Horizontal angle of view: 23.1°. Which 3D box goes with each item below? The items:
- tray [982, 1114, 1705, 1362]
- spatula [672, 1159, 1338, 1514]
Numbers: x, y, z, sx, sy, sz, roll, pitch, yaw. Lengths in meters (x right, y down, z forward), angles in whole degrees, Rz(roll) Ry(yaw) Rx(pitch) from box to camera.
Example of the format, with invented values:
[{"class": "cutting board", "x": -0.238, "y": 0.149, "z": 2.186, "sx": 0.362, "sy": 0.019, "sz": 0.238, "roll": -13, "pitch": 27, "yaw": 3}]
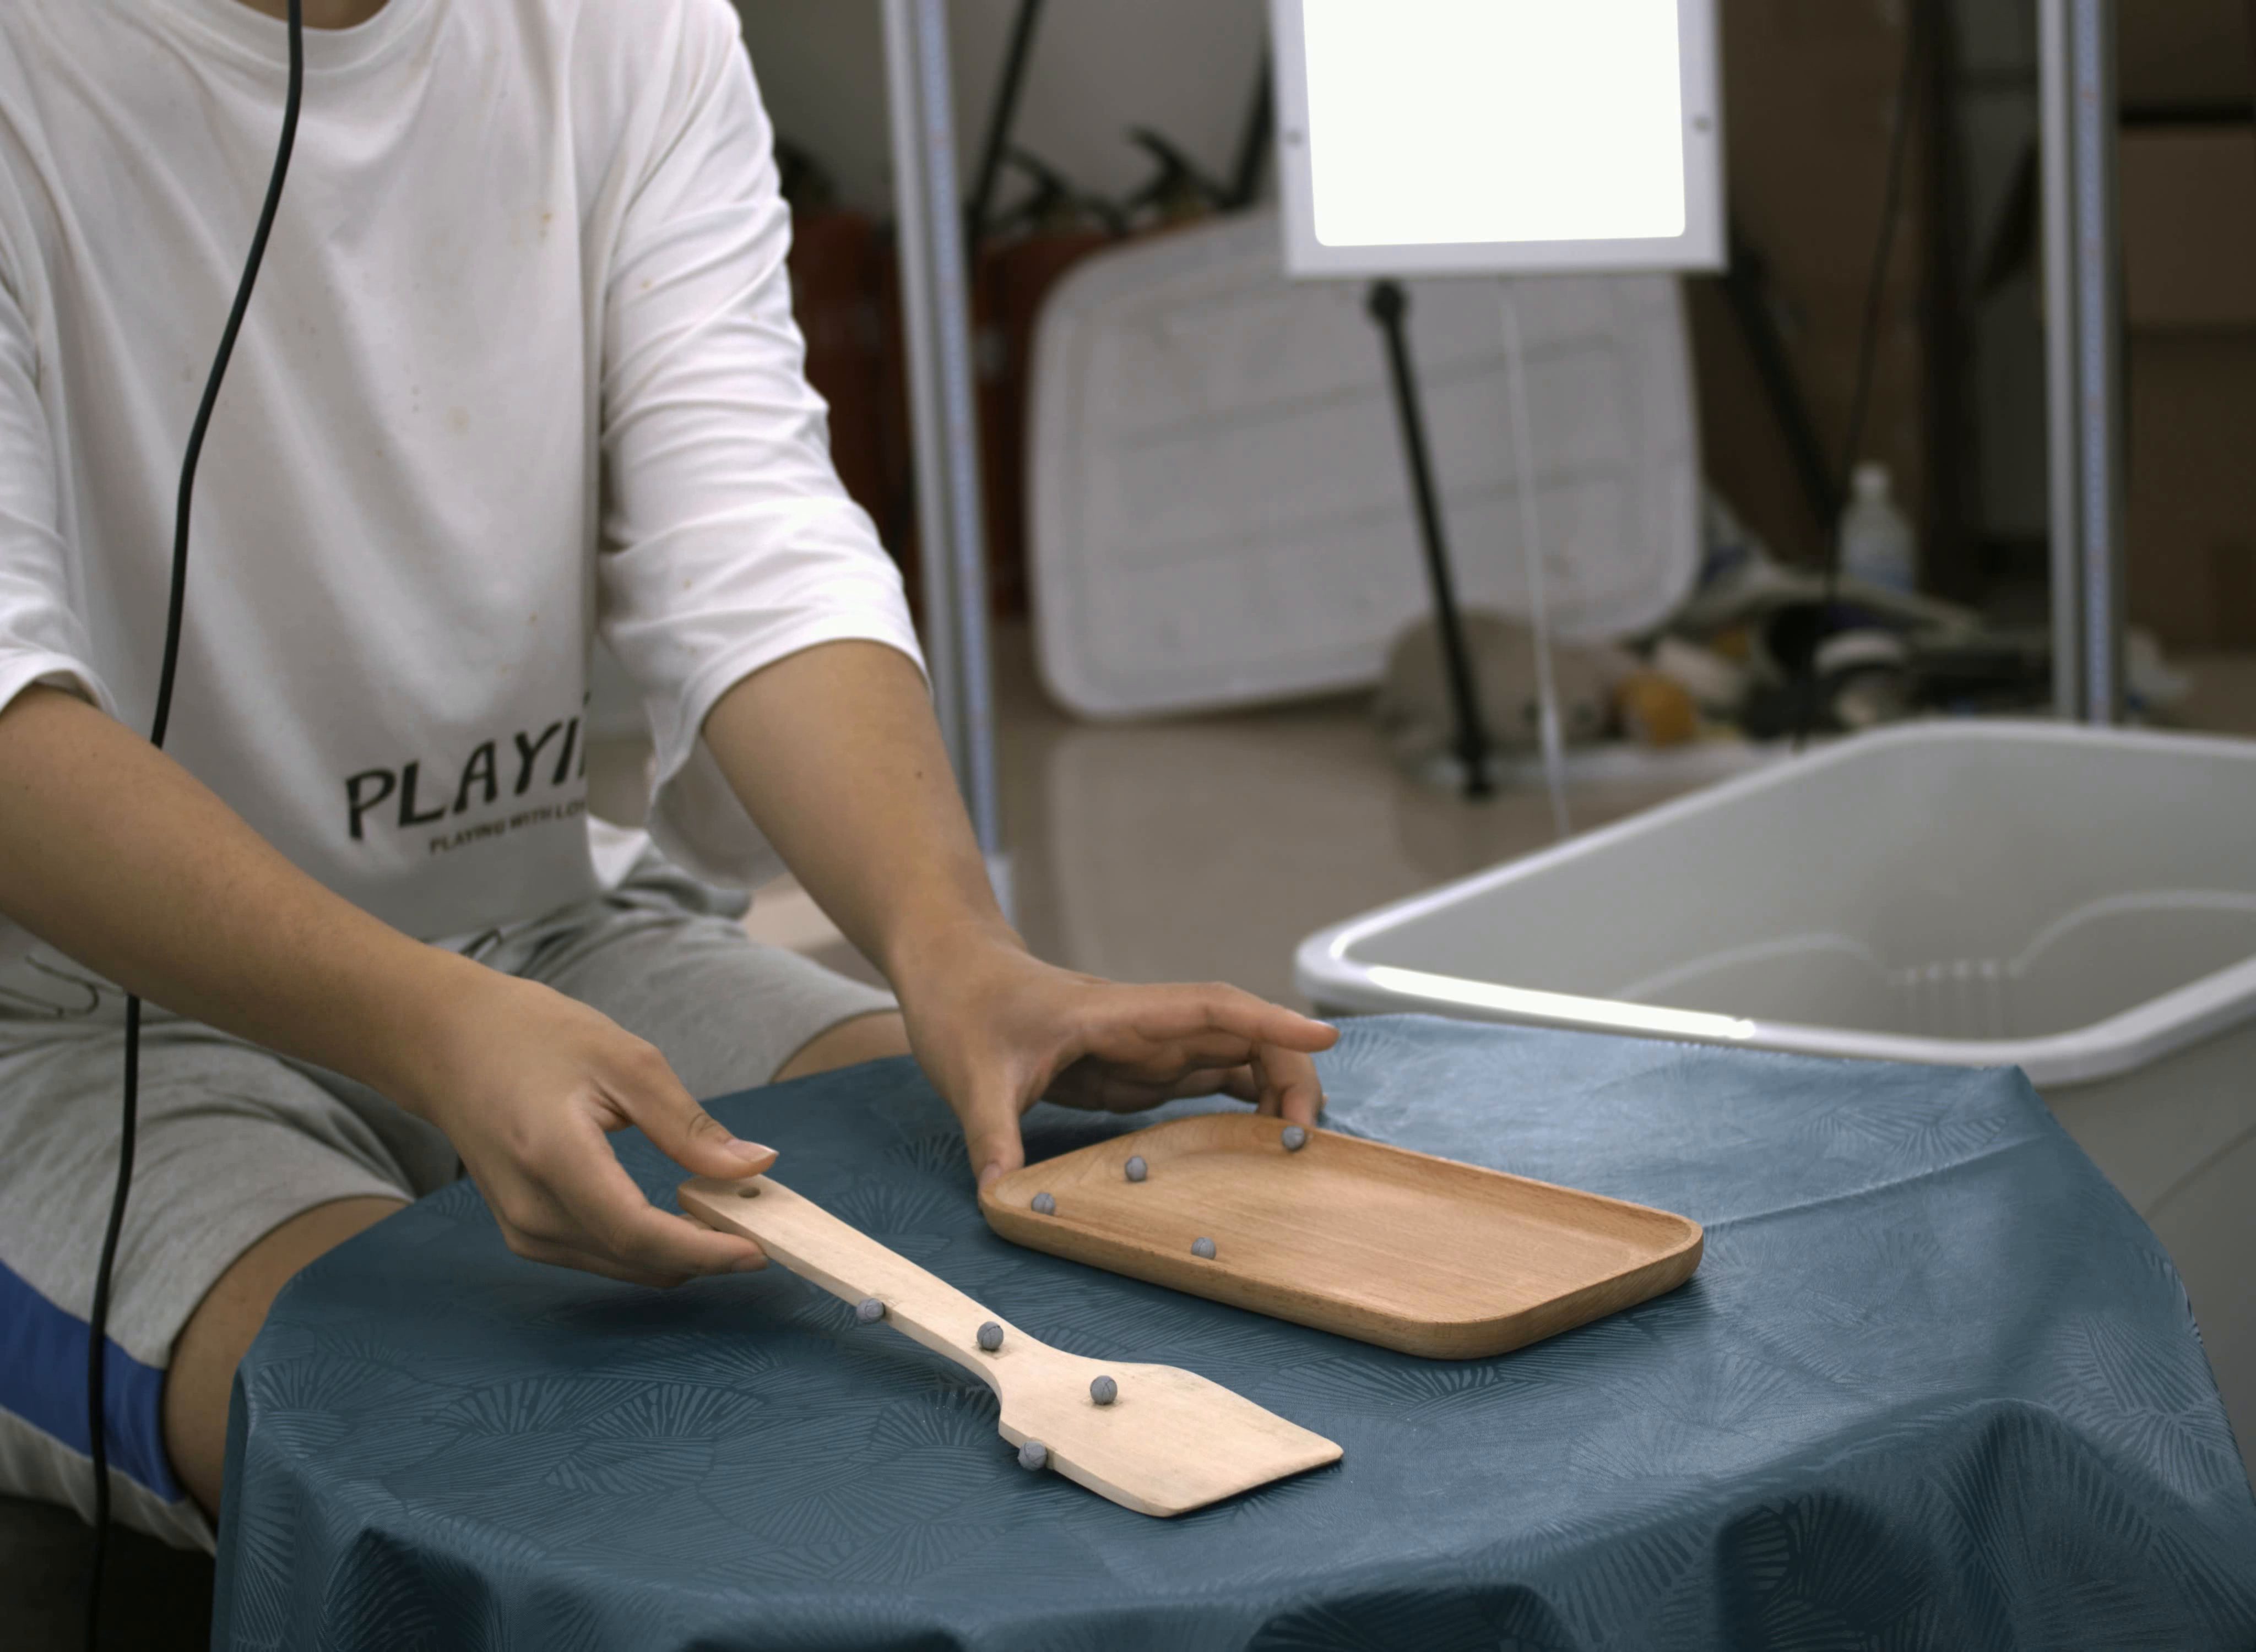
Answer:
[{"class": "tray", "x": 0.068, "y": 0.133, "z": 1.811, "sx": 0.127, "sy": 0.023, "sz": 0.256, "roll": -18, "pitch": 19, "yaw": -35}, {"class": "spatula", "x": -0.053, "y": 0.154, "z": 1.716, "sx": 0.070, "sy": 0.011, "sz": 0.298, "roll": -15, "pitch": 25, "yaw": -35}]
